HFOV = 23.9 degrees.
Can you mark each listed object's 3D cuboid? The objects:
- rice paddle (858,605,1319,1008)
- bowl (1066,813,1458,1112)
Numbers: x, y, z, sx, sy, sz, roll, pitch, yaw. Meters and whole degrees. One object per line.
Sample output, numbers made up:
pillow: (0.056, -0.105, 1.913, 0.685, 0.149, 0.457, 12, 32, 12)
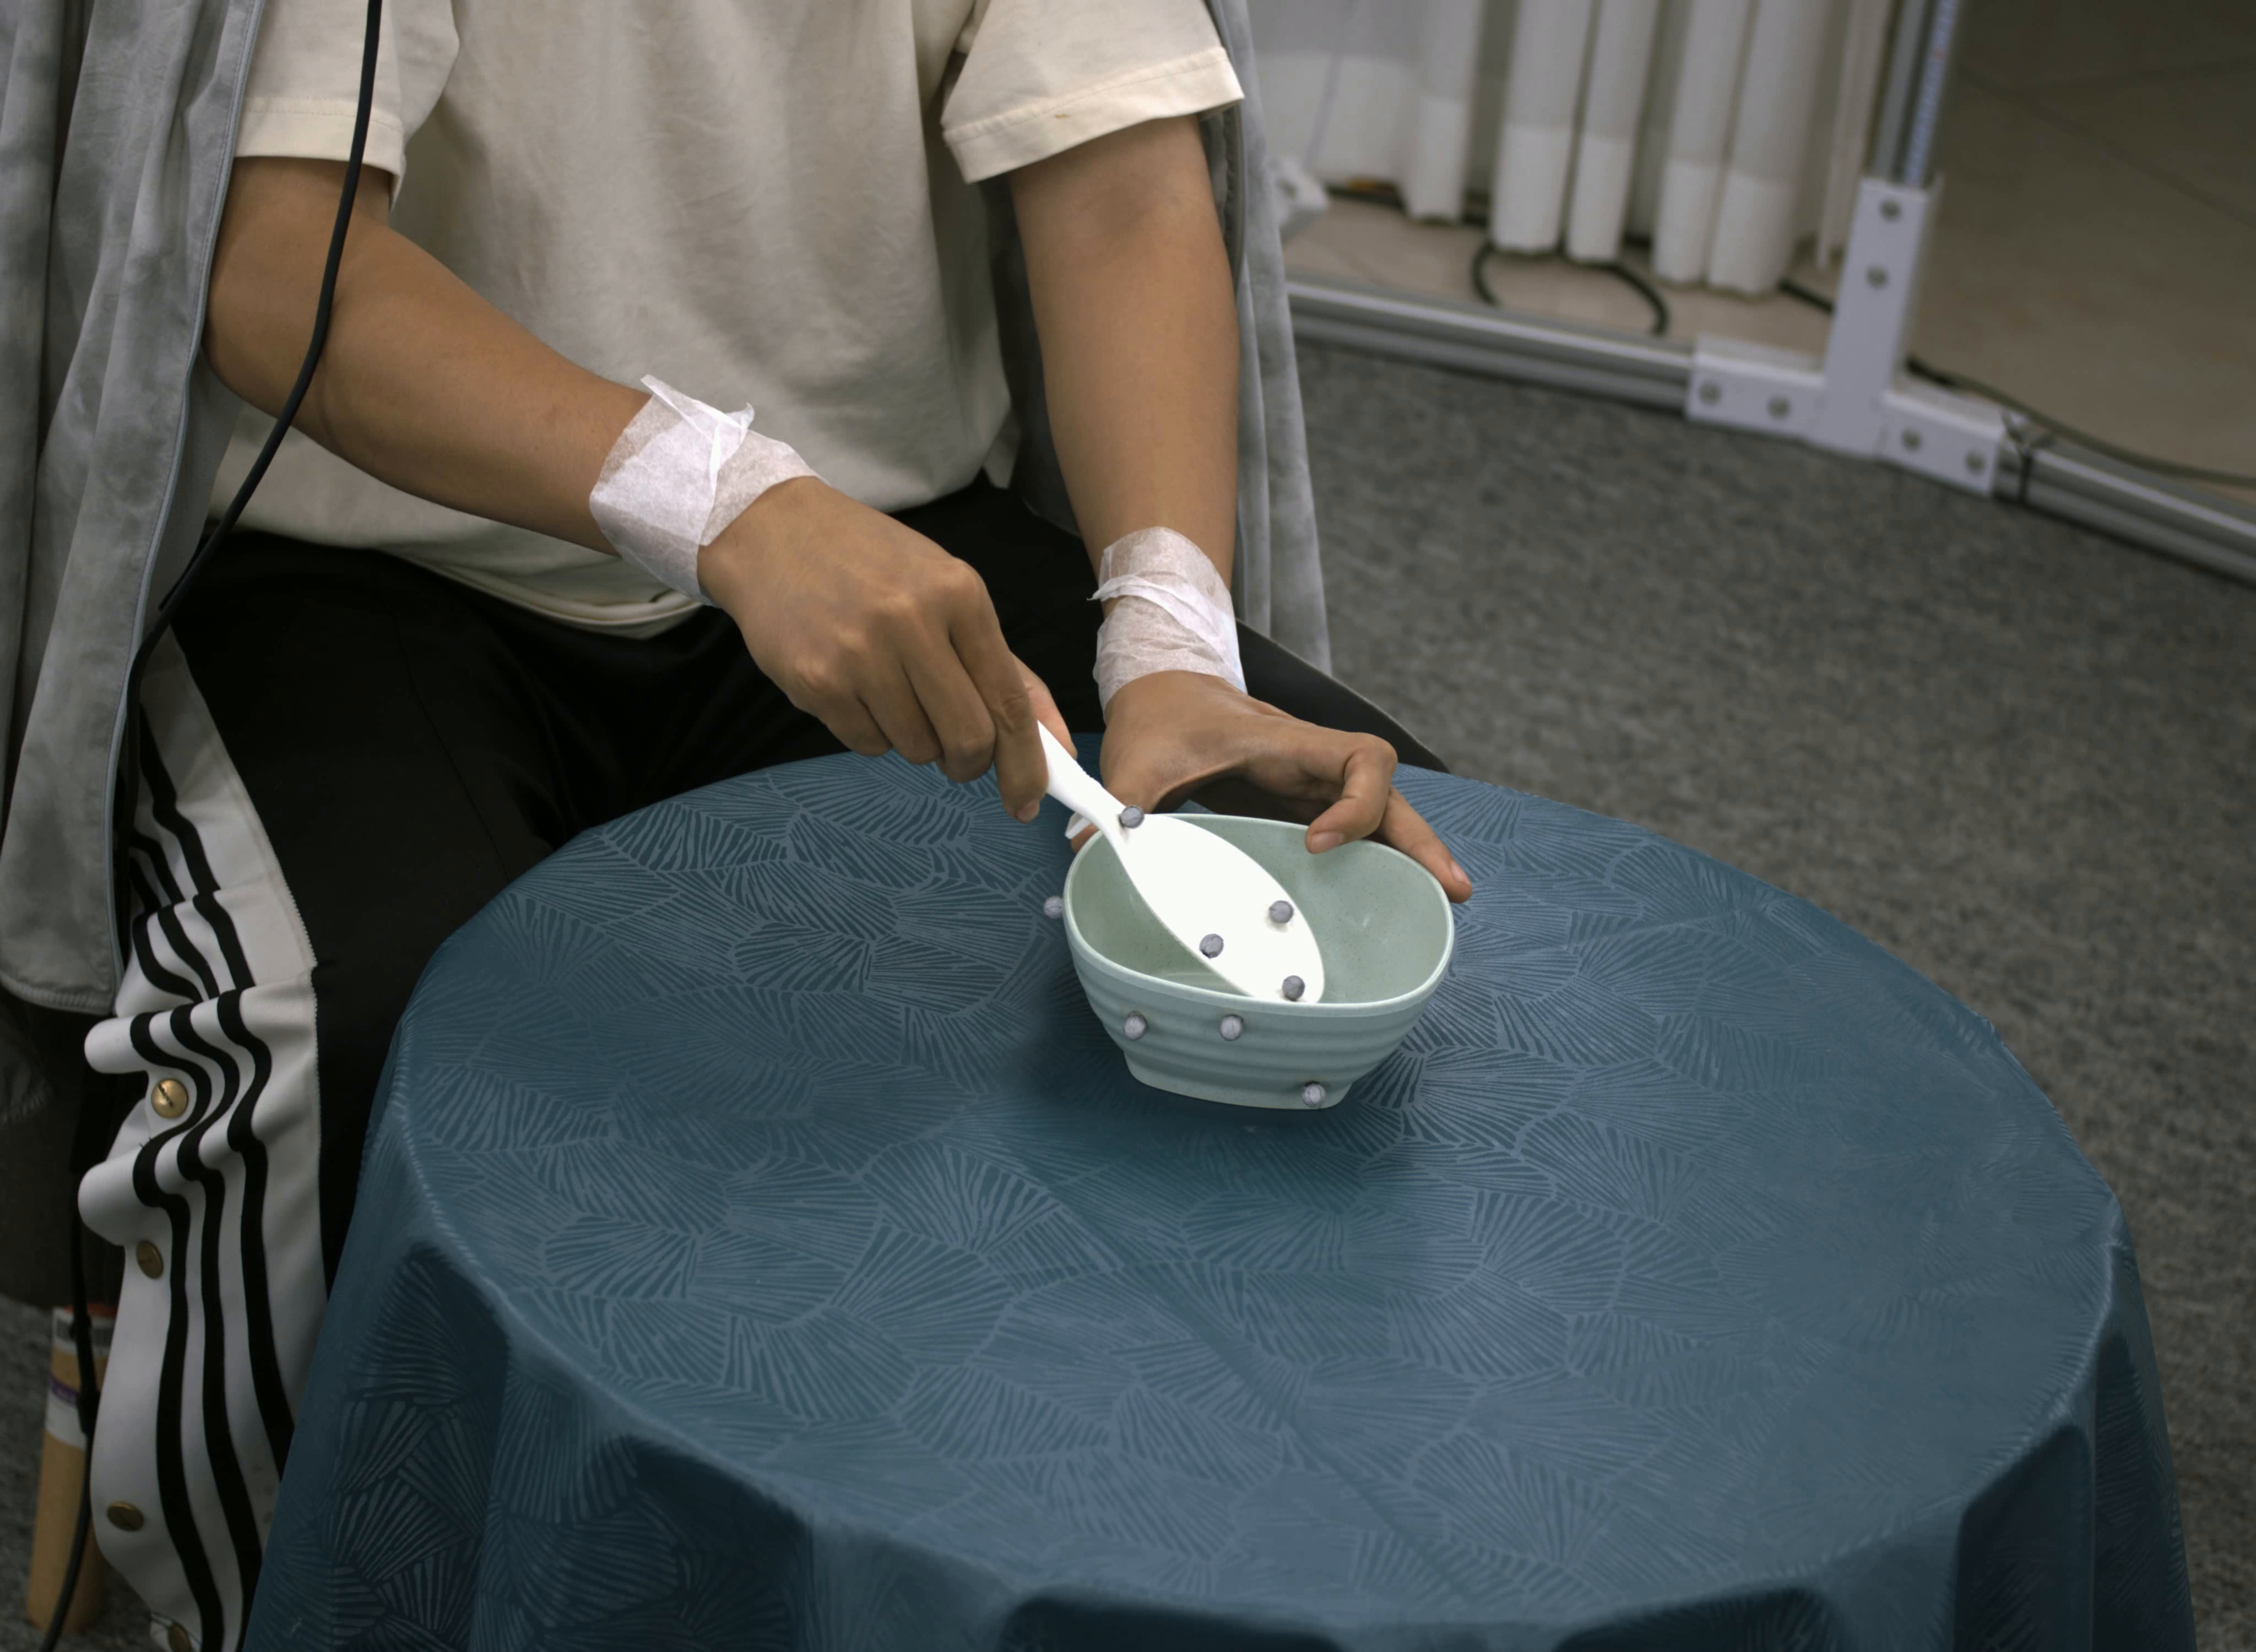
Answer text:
rice paddle: (-0.007, -0.005, 1.876, 0.204, 0.029, 0.069, 38, 36, -15)
bowl: (0.045, 0.054, 1.890, 0.151, 0.058, 0.152, 4, 29, -3)
